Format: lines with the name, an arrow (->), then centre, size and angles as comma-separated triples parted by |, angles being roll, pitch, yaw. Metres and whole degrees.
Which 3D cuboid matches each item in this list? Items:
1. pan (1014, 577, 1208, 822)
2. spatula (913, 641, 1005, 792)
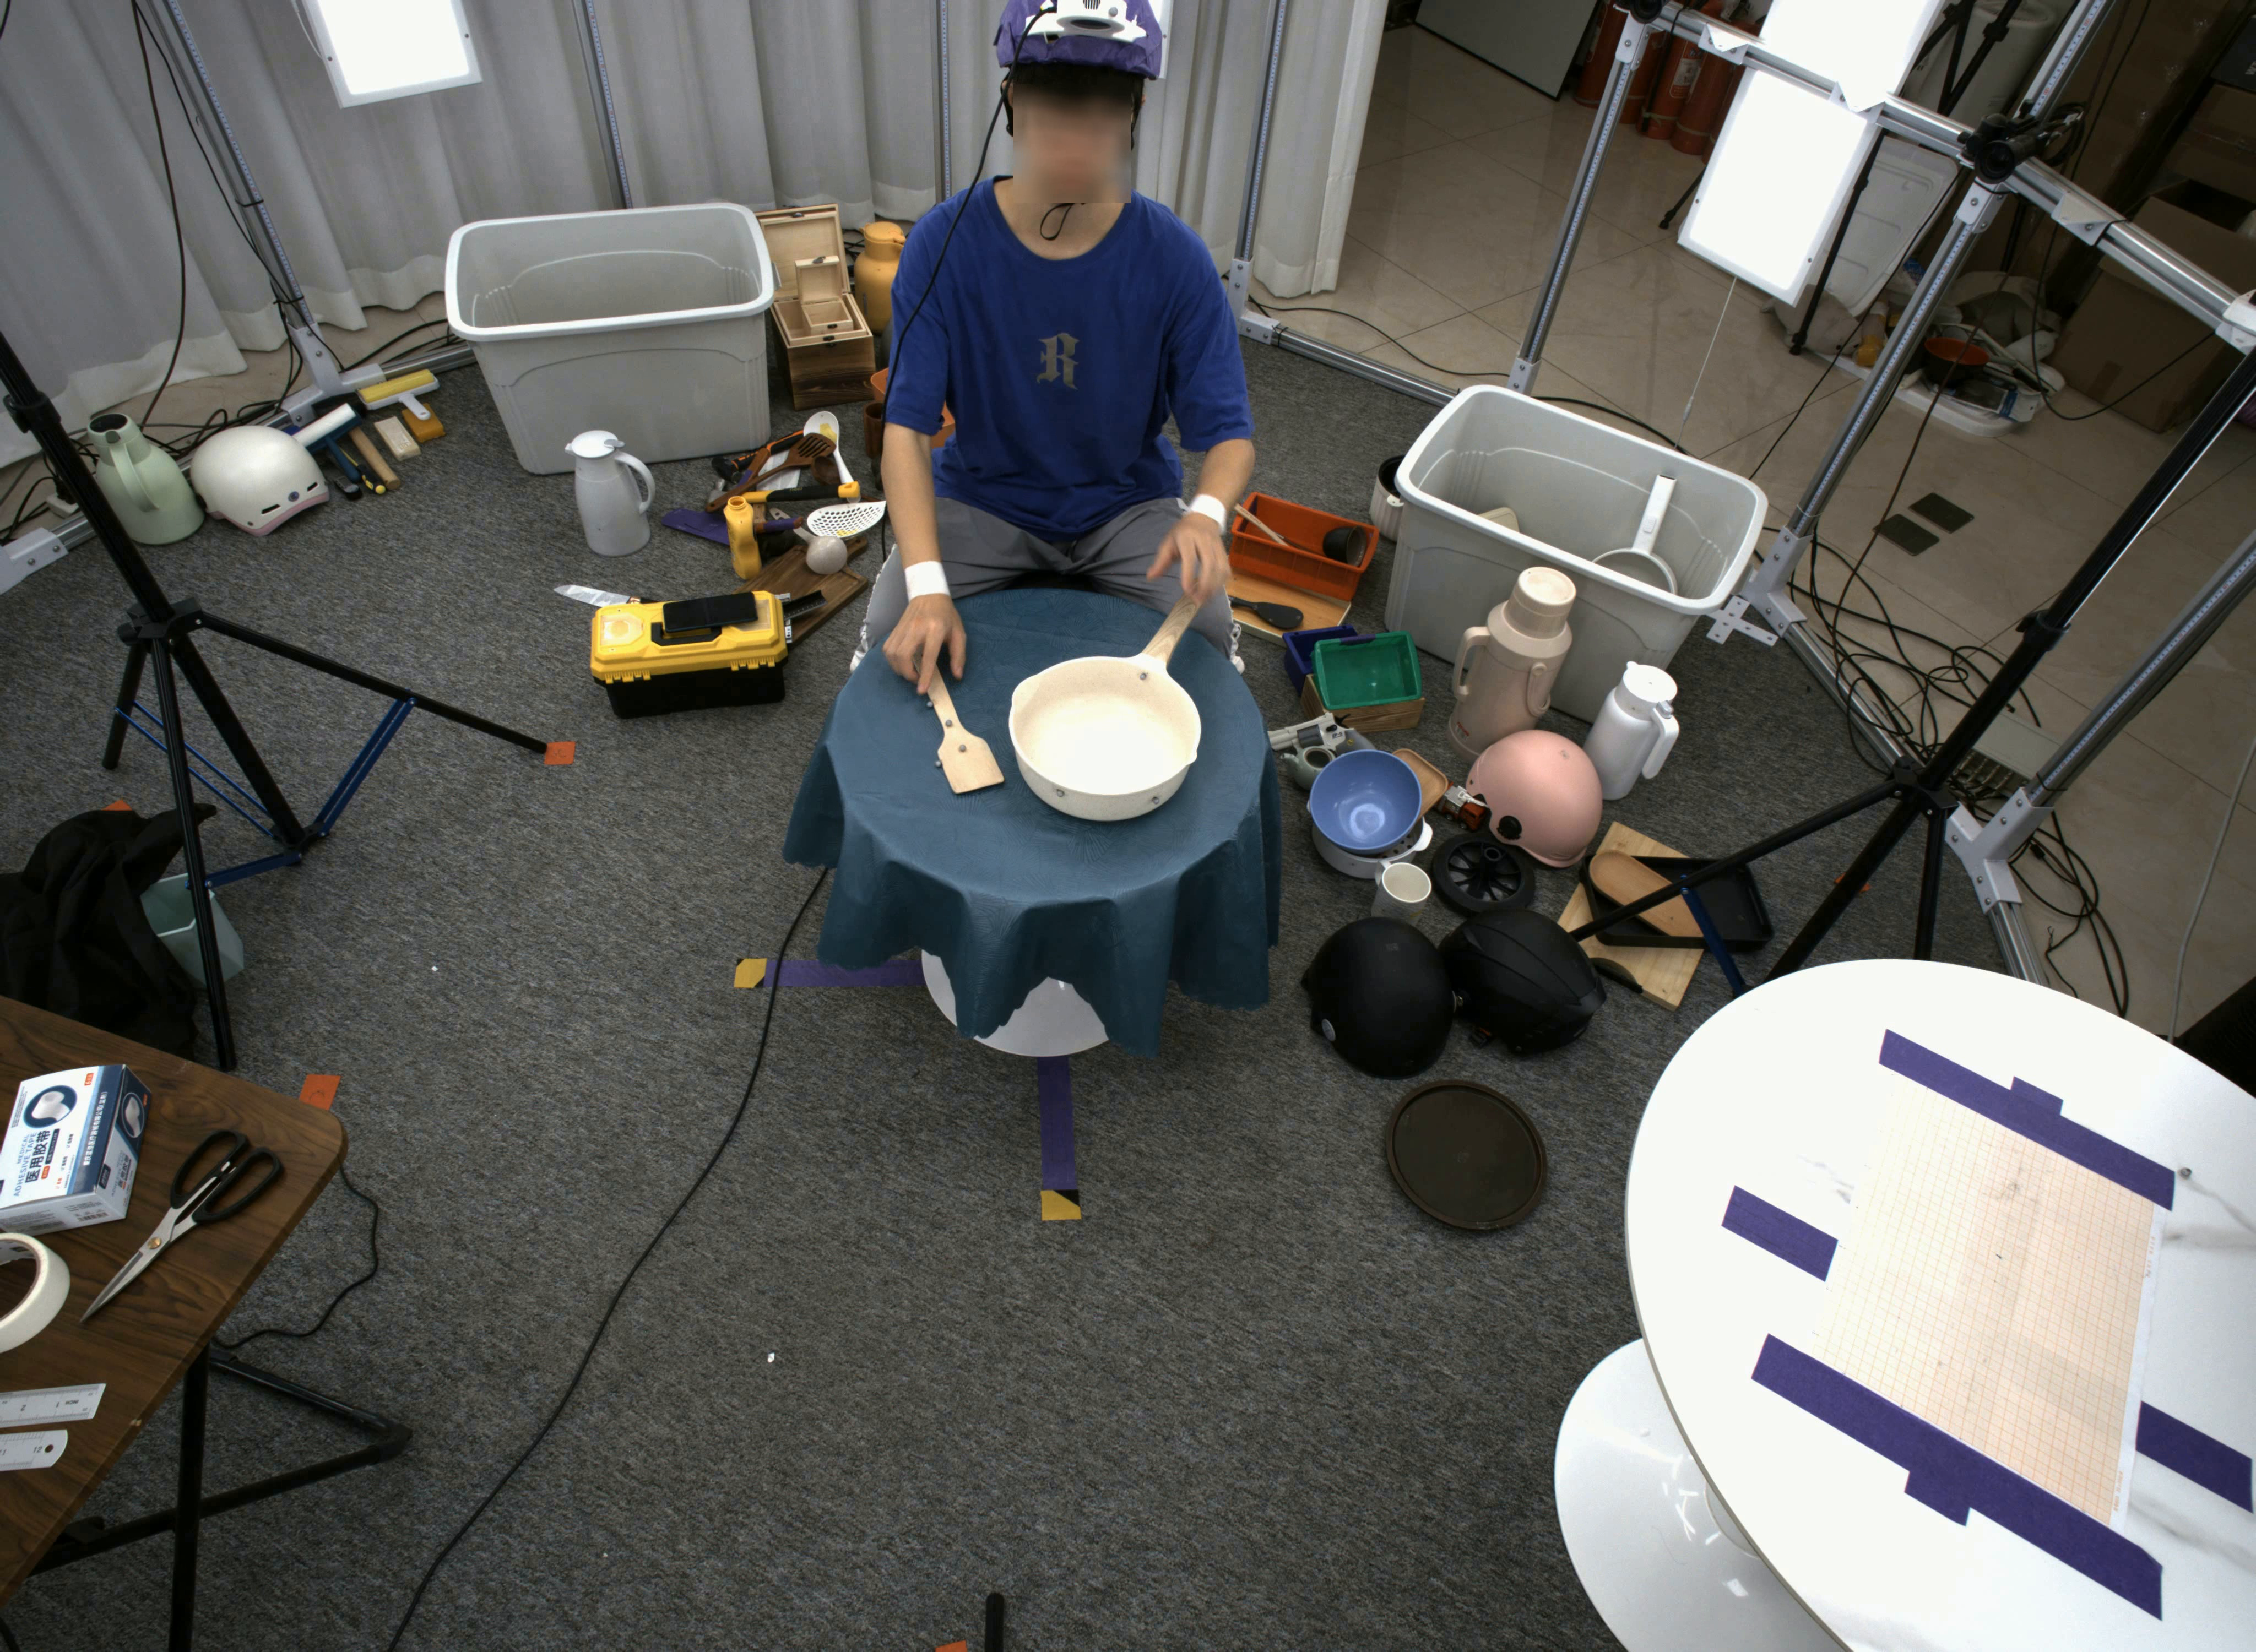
pan -> 0.014, -0.177, 1.763 | 0.265, 0.099, 0.442 | 21, 51, 15
spatula -> -0.249, -0.159, 1.788 | 0.072, 0.010, 0.300 | -16, 53, -15
